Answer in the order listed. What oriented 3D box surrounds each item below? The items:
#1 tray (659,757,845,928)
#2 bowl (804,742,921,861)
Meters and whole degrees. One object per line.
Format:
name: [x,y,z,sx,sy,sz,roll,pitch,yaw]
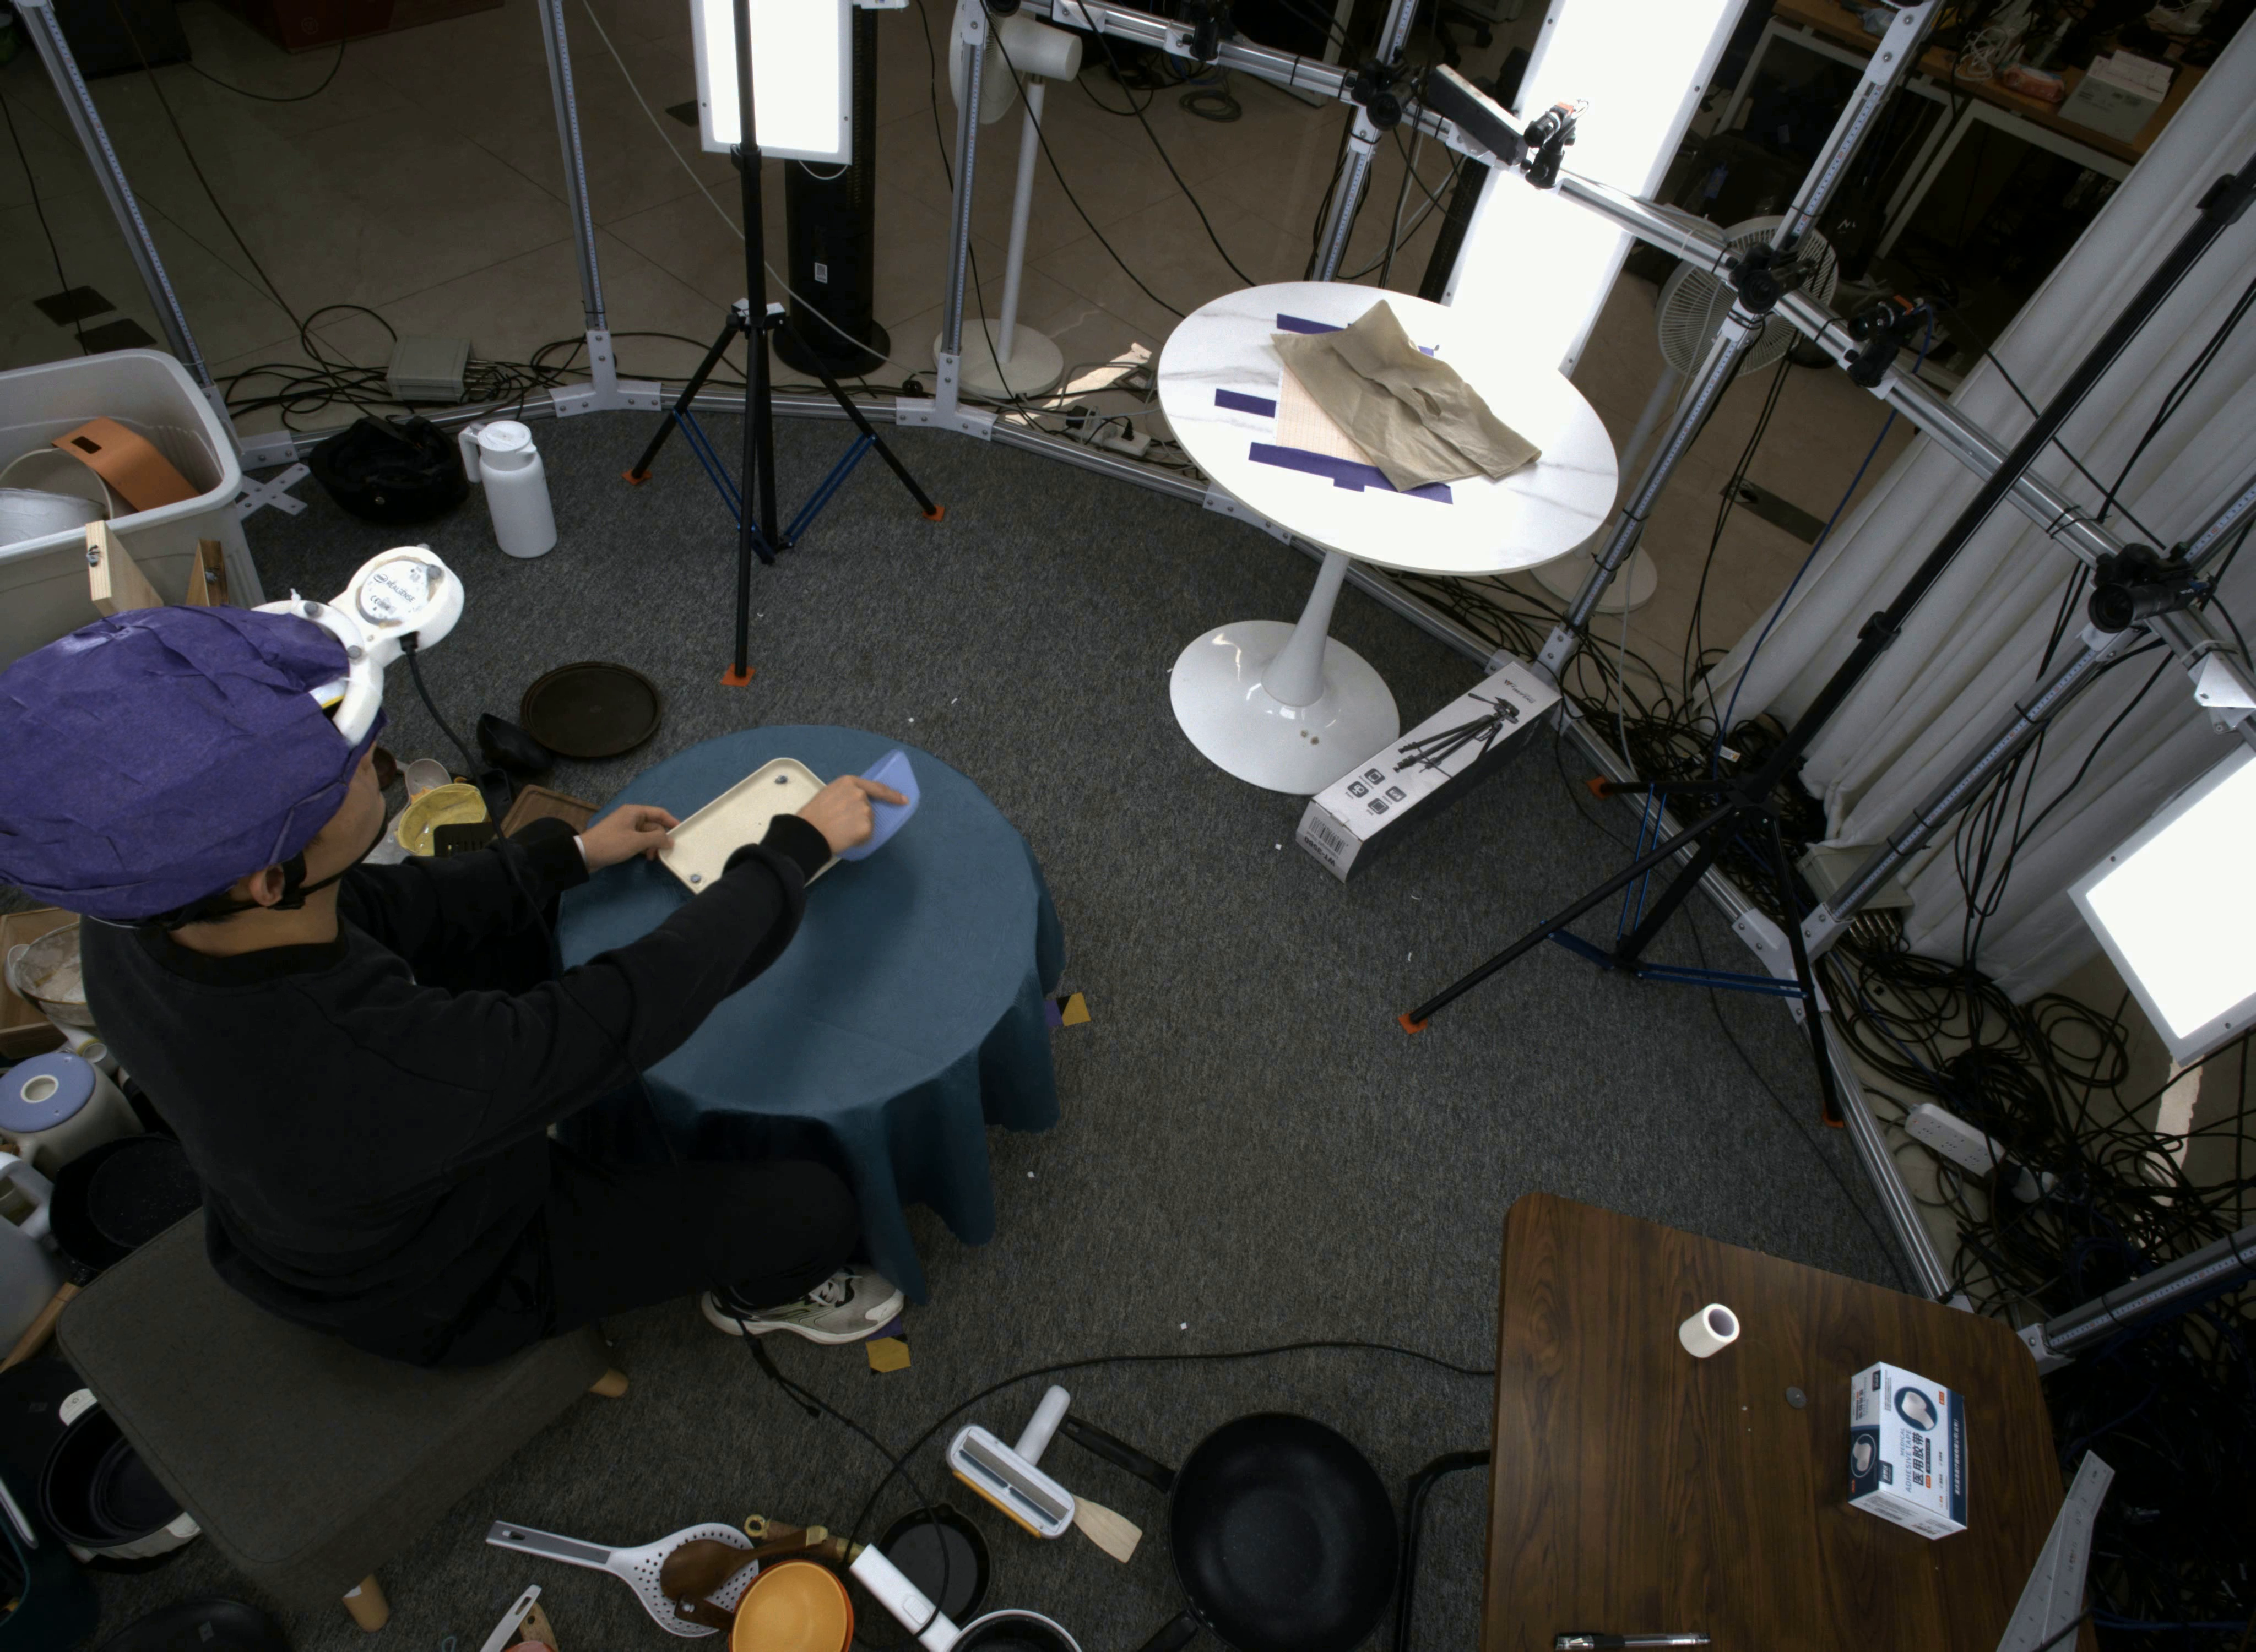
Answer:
tray: [-0.470,0.018,1.676,0.169,0.017,0.239,41,52,7]
bowl: [-0.325,-0.020,1.641,0.072,0.173,0.175,46,51,-14]
